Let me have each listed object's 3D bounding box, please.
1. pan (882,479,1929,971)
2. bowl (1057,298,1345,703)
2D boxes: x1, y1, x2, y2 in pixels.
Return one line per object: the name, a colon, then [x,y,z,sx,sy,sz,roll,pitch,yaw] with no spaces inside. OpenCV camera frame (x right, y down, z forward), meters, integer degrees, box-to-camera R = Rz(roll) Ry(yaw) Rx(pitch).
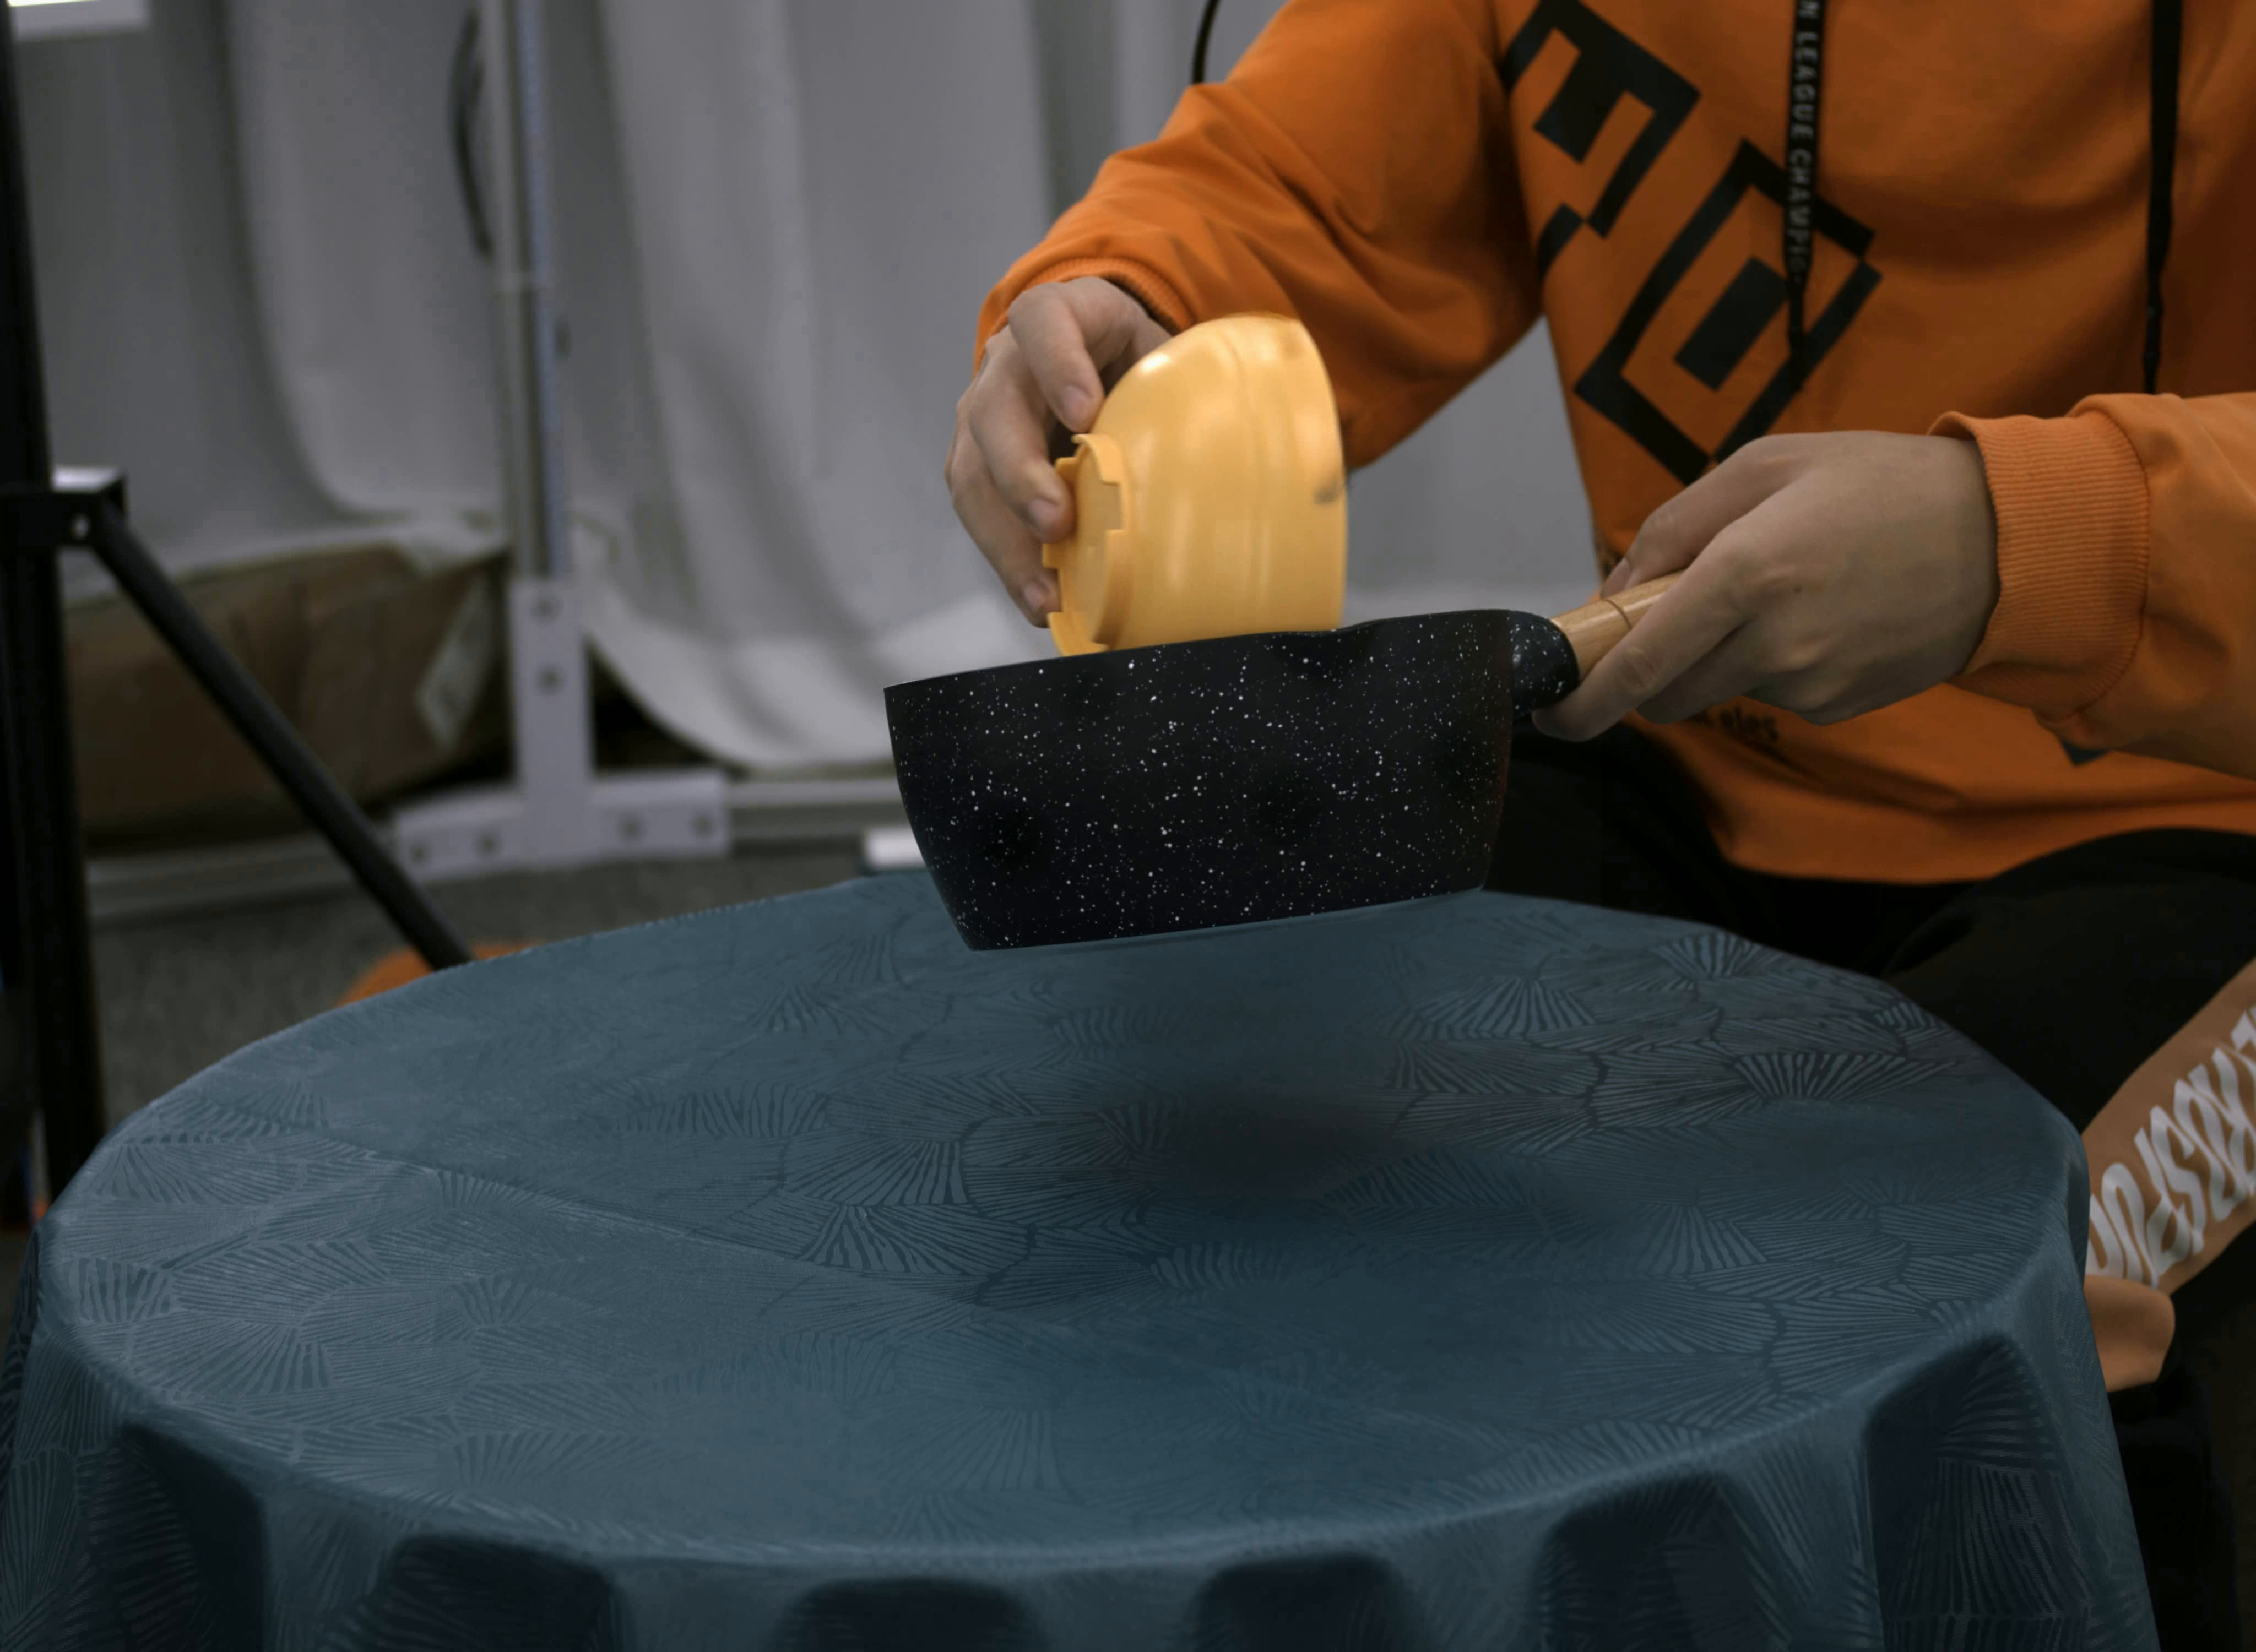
pan: [0.095,-0.031,1.591,0.336,0.109,0.210,-8,-1,-22]
bowl: [0.016,-0.079,1.539,0.059,0.145,0.147,-3,15,-14]
